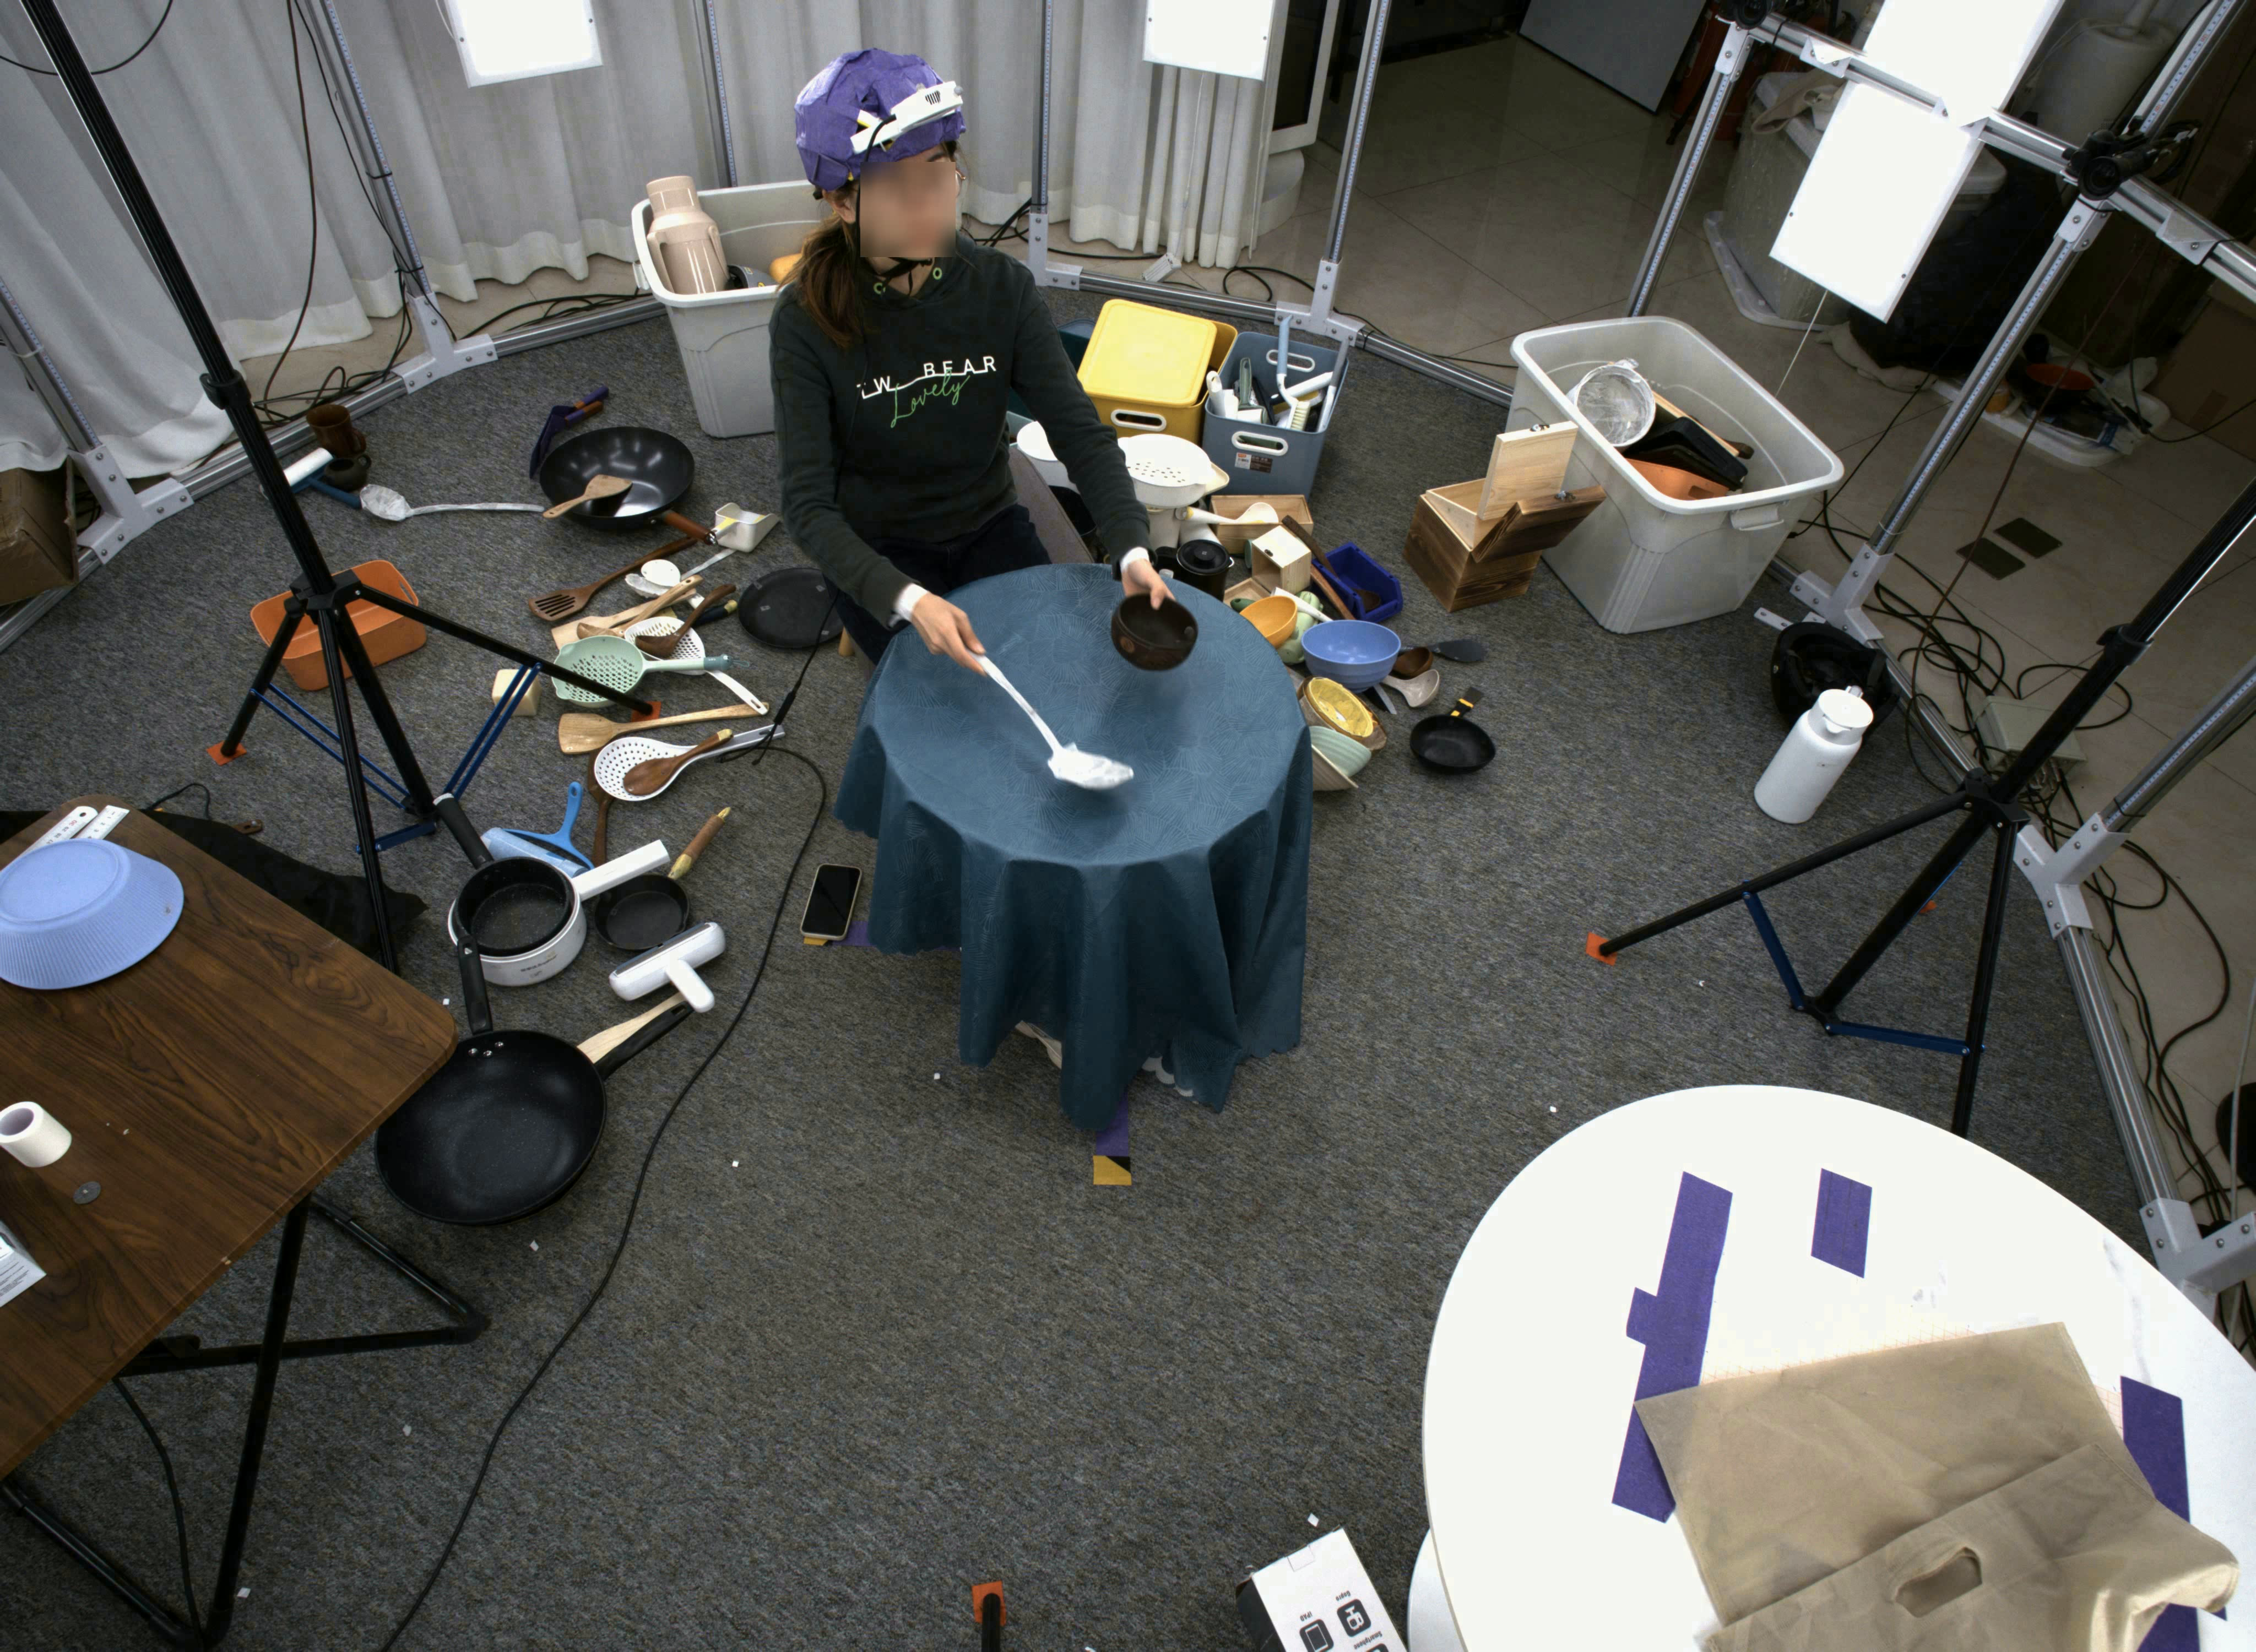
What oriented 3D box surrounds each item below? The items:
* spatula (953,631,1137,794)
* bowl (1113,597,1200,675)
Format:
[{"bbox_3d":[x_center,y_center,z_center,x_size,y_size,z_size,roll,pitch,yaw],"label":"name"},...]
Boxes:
[{"bbox_3d":[-0.131,-0.161,1.733,0.099,0.044,0.370,-19,58,-42],"label":"spatula"},{"bbox_3d":[0.034,-0.254,1.774,0.117,0.068,0.121,12,42,-11],"label":"bowl"}]
